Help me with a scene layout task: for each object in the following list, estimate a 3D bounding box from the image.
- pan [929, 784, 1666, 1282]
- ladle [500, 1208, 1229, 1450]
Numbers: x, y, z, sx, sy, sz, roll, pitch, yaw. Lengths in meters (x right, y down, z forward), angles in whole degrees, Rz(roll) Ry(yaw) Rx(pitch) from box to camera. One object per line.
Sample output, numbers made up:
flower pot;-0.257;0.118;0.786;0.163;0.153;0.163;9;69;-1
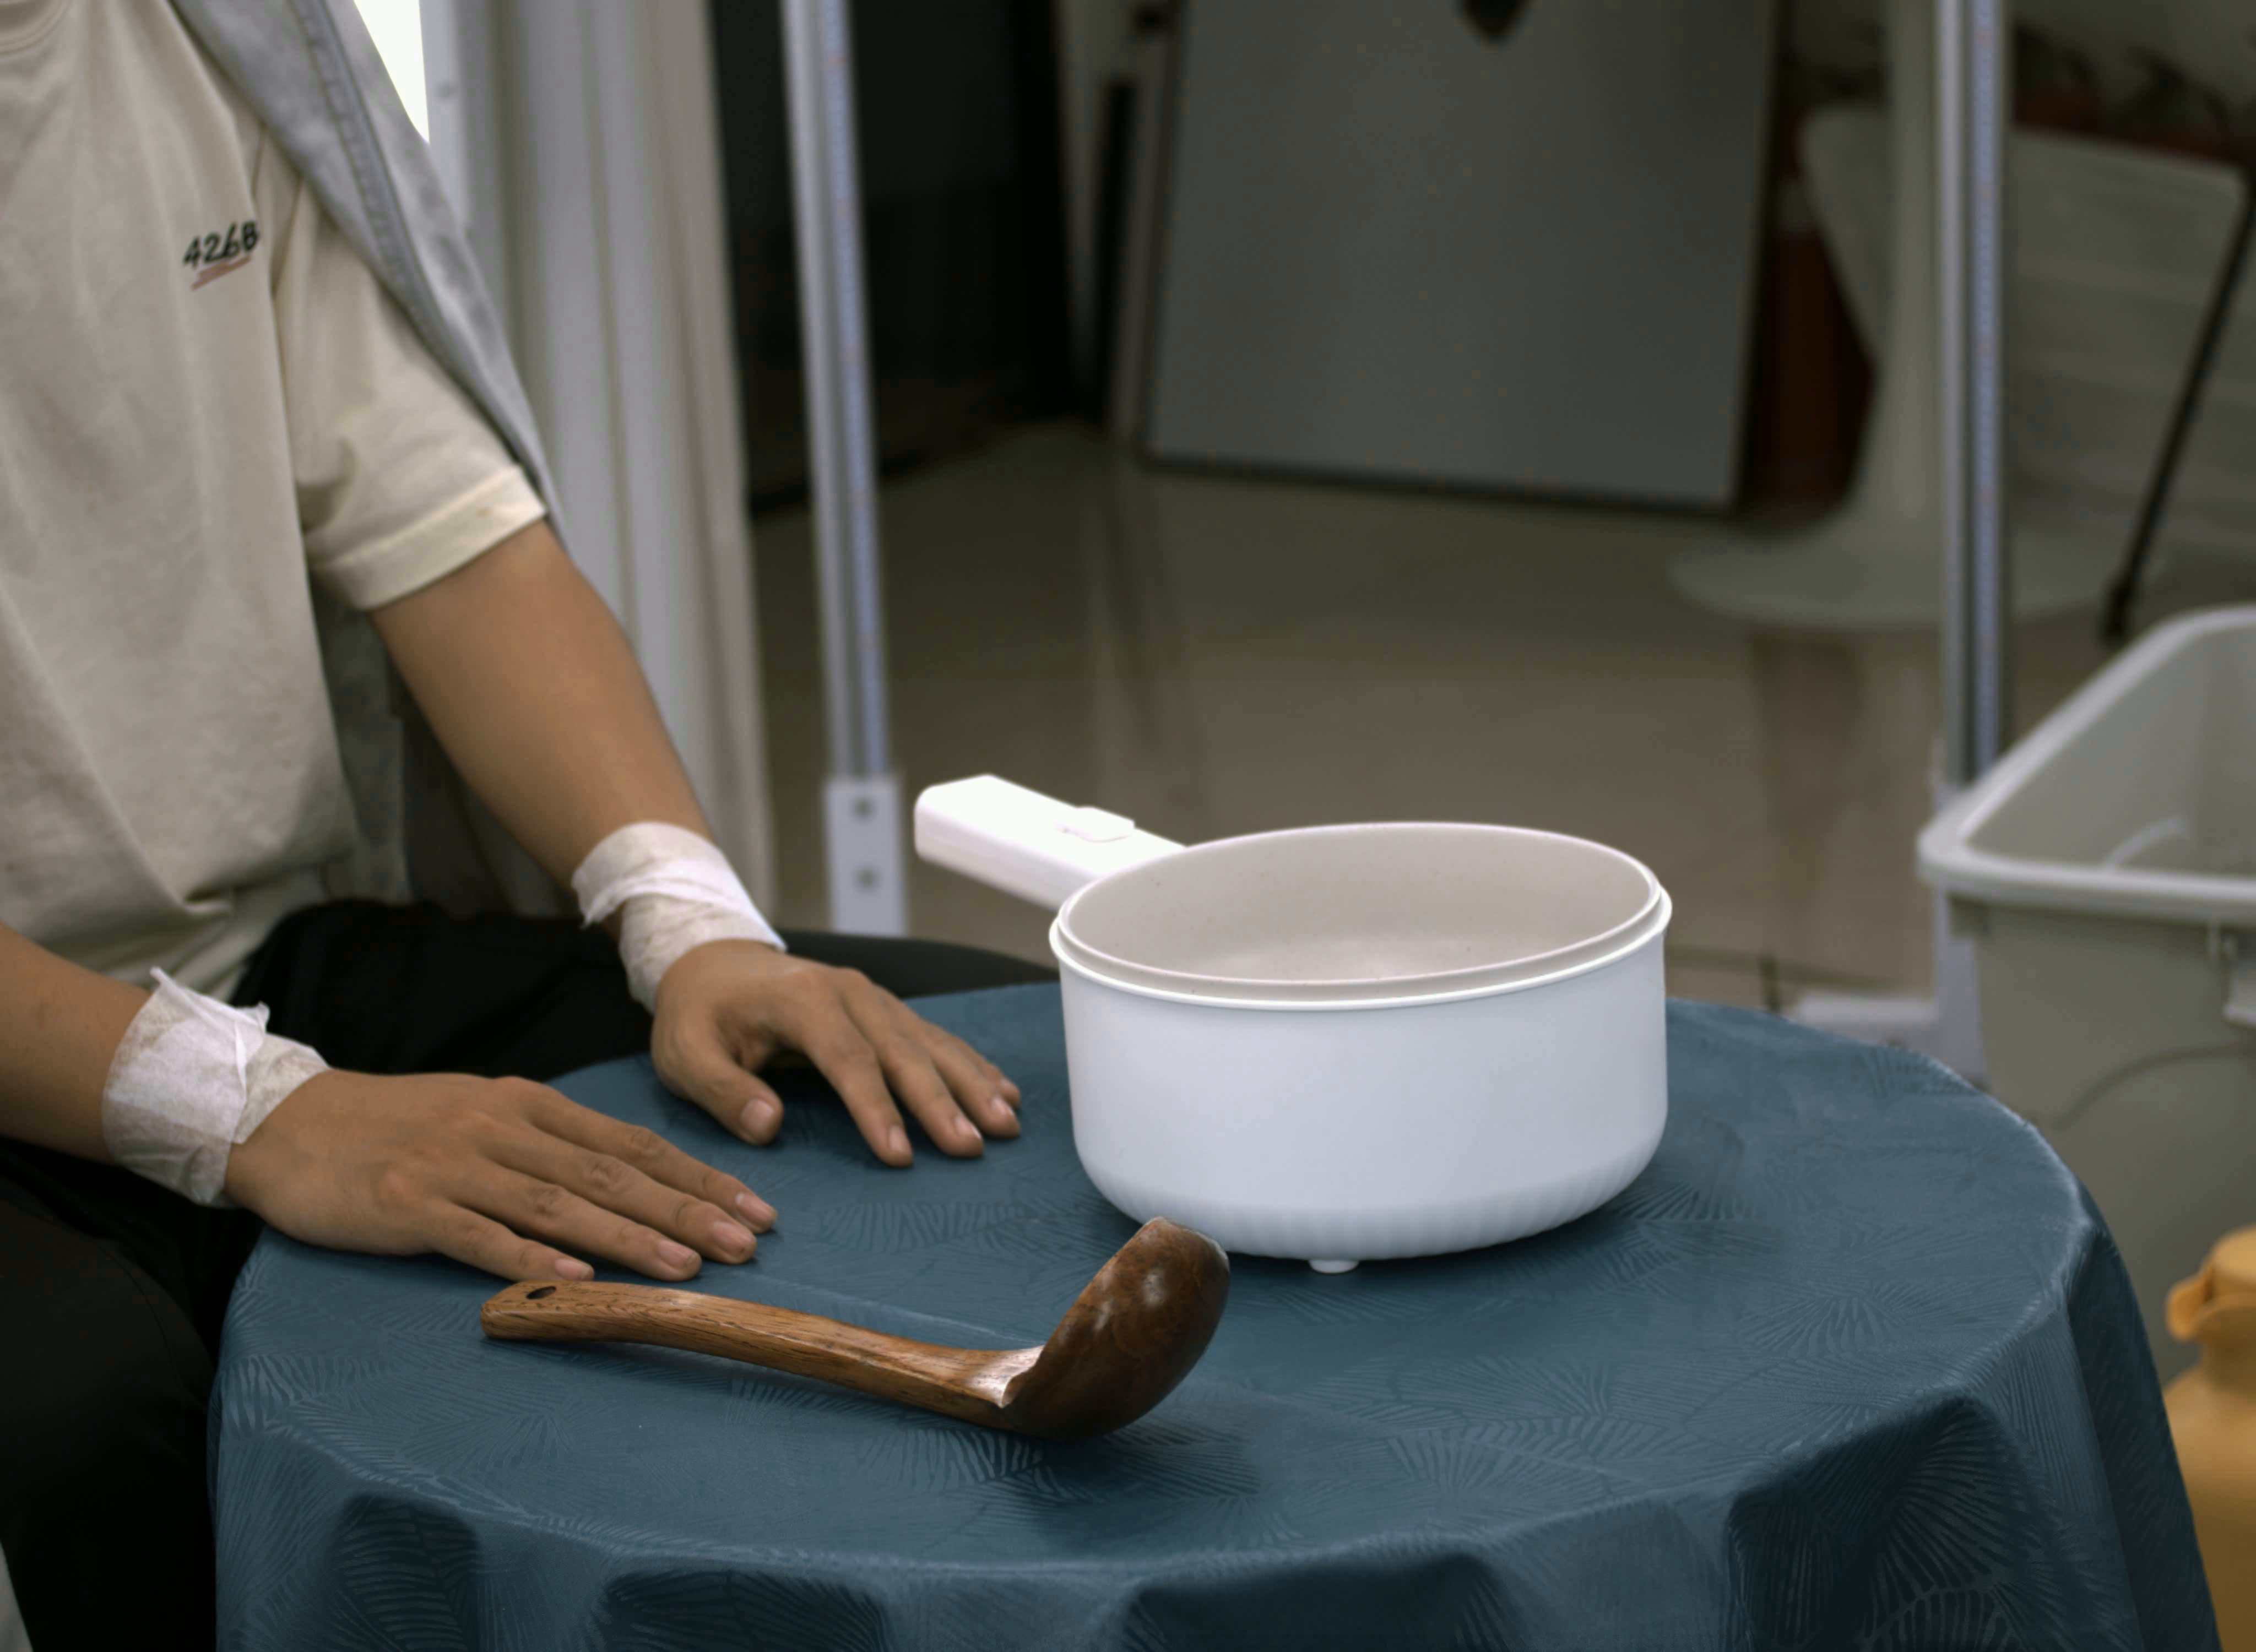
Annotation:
pan;0.037;0.061;1.806;0.197;0.103;0.358;-13;16;-29
ladle;-0.088;0.132;1.591;0.276;0.077;0.080;8;21;38
